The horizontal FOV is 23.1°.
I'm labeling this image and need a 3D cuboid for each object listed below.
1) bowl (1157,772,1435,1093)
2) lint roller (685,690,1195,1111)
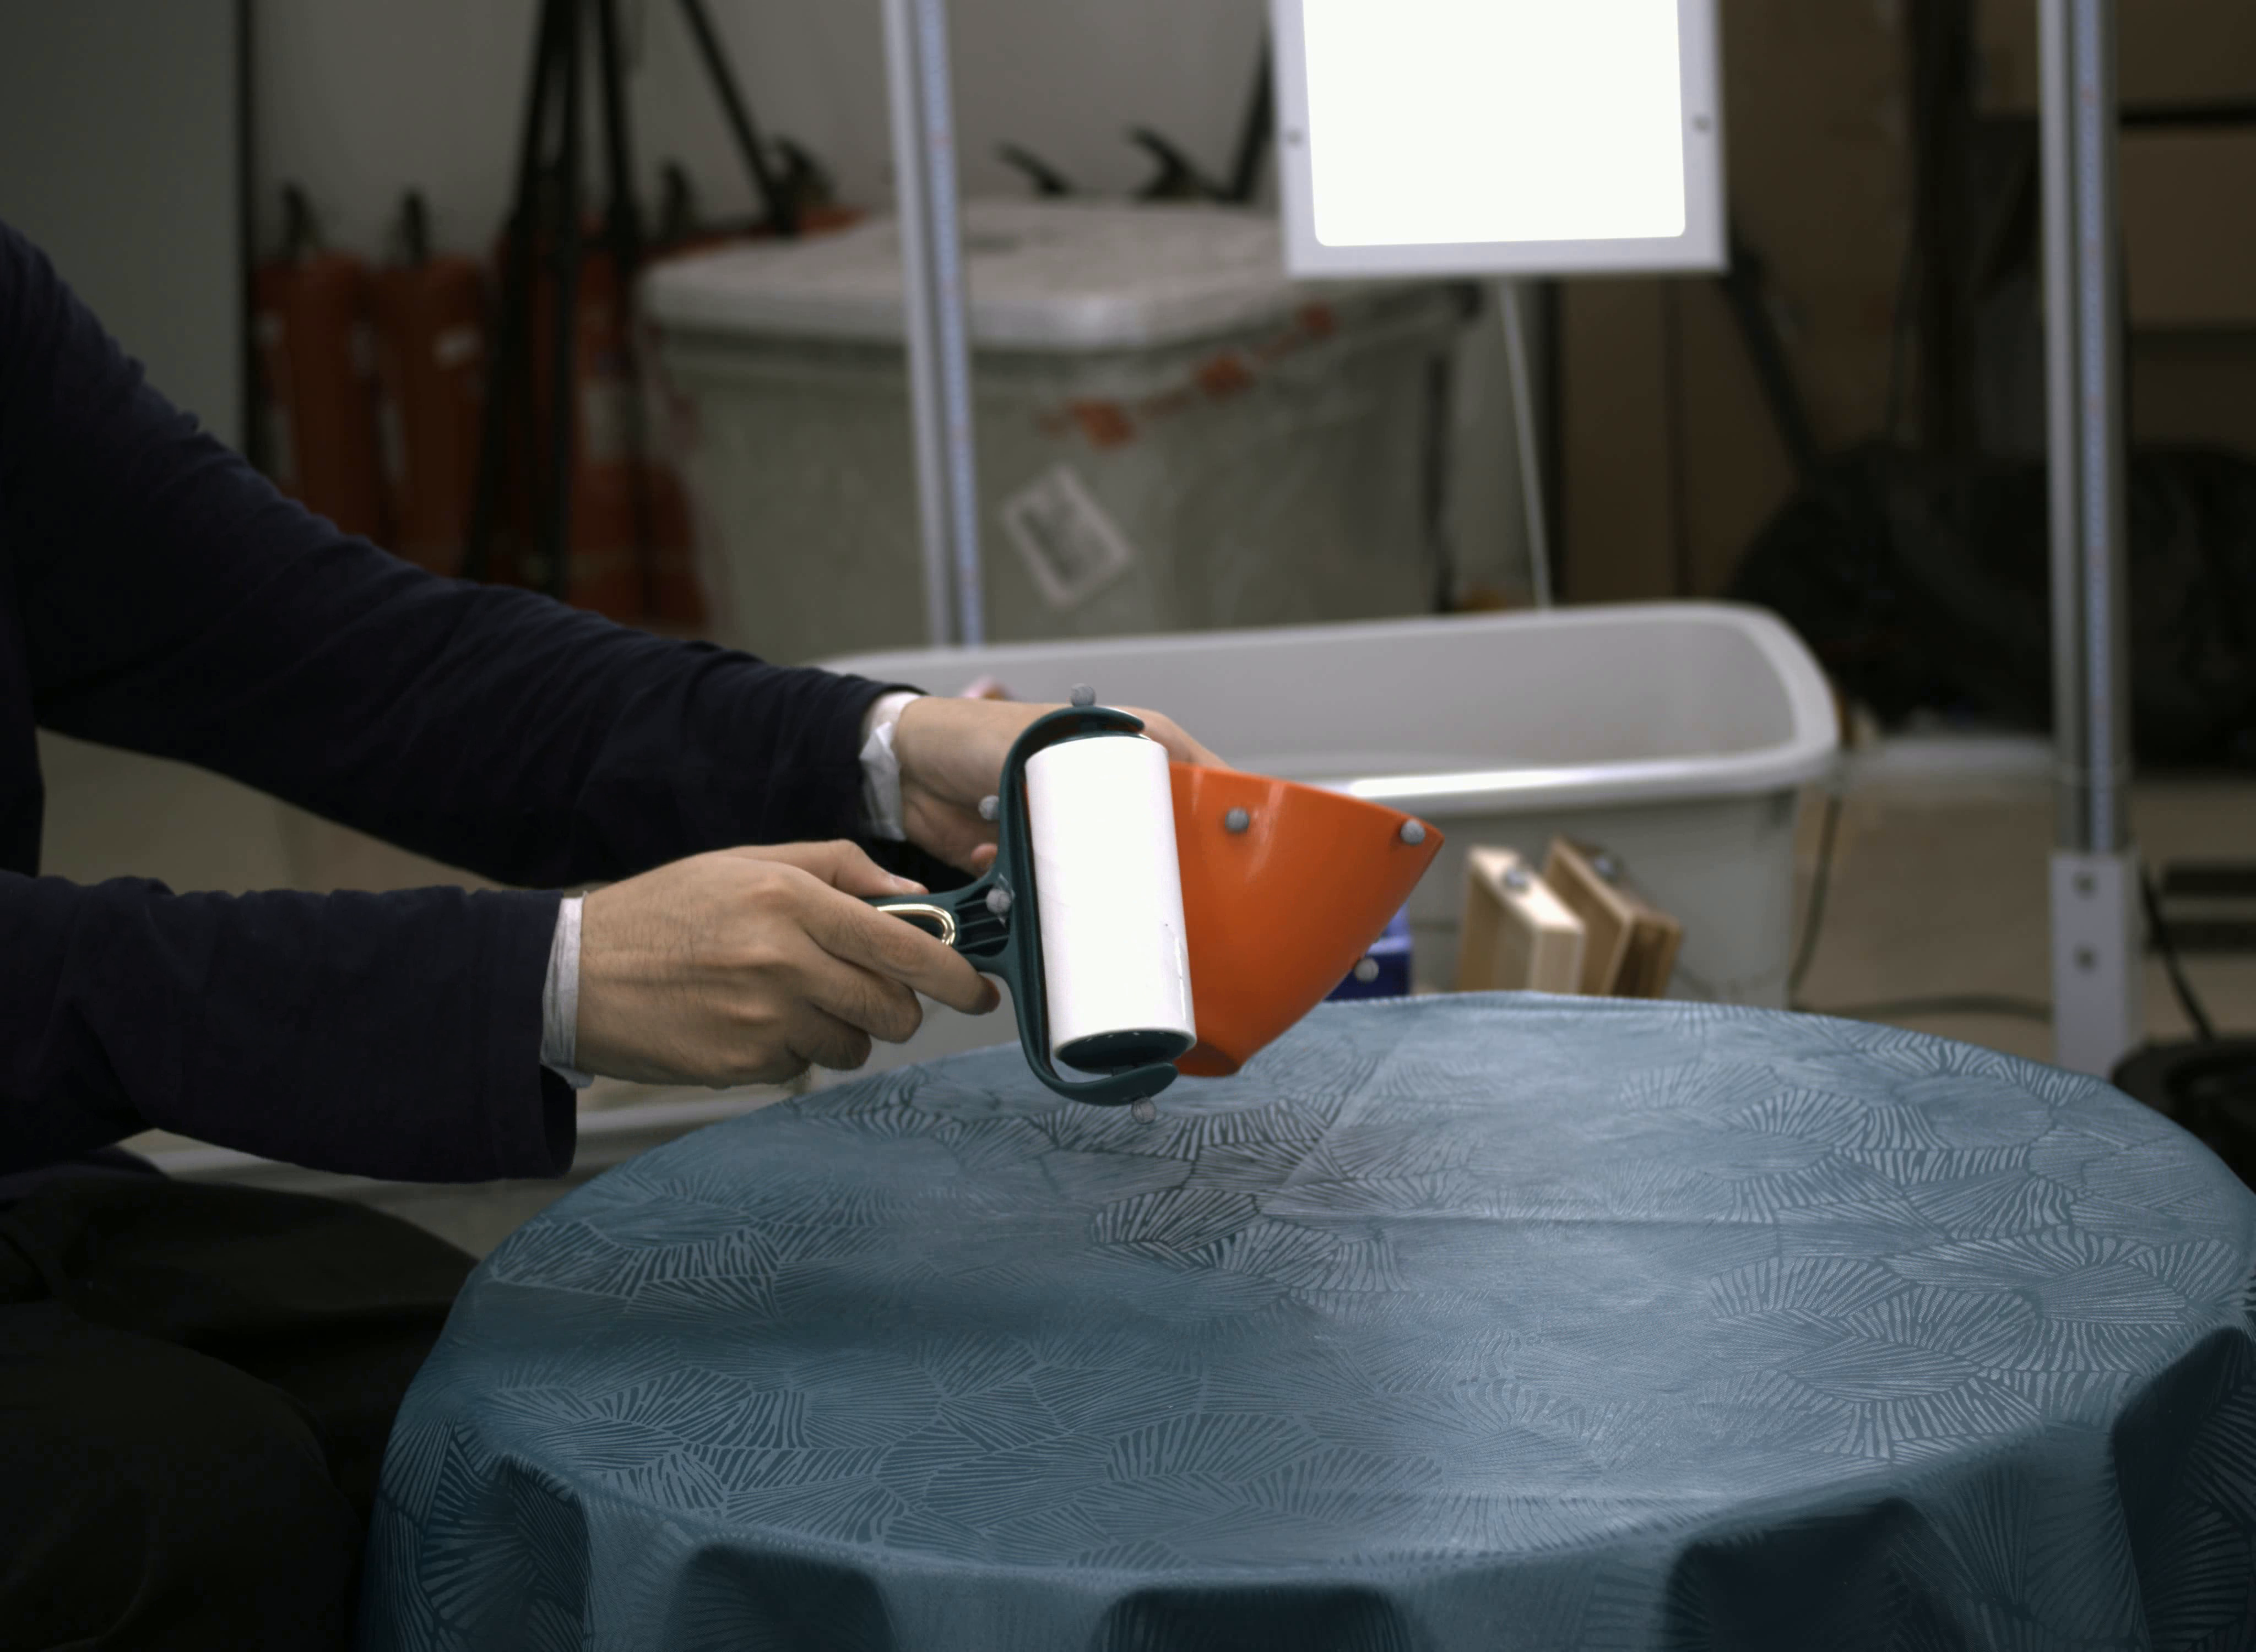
[{"bbox_3d":[0.023,0.035,1.878,0.148,0.104,0.148,14,-16,2],"label":"bowl"},{"bbox_3d":[-0.069,0.038,1.812,0.182,0.134,0.048,-11,-19,16],"label":"lint roller"}]
